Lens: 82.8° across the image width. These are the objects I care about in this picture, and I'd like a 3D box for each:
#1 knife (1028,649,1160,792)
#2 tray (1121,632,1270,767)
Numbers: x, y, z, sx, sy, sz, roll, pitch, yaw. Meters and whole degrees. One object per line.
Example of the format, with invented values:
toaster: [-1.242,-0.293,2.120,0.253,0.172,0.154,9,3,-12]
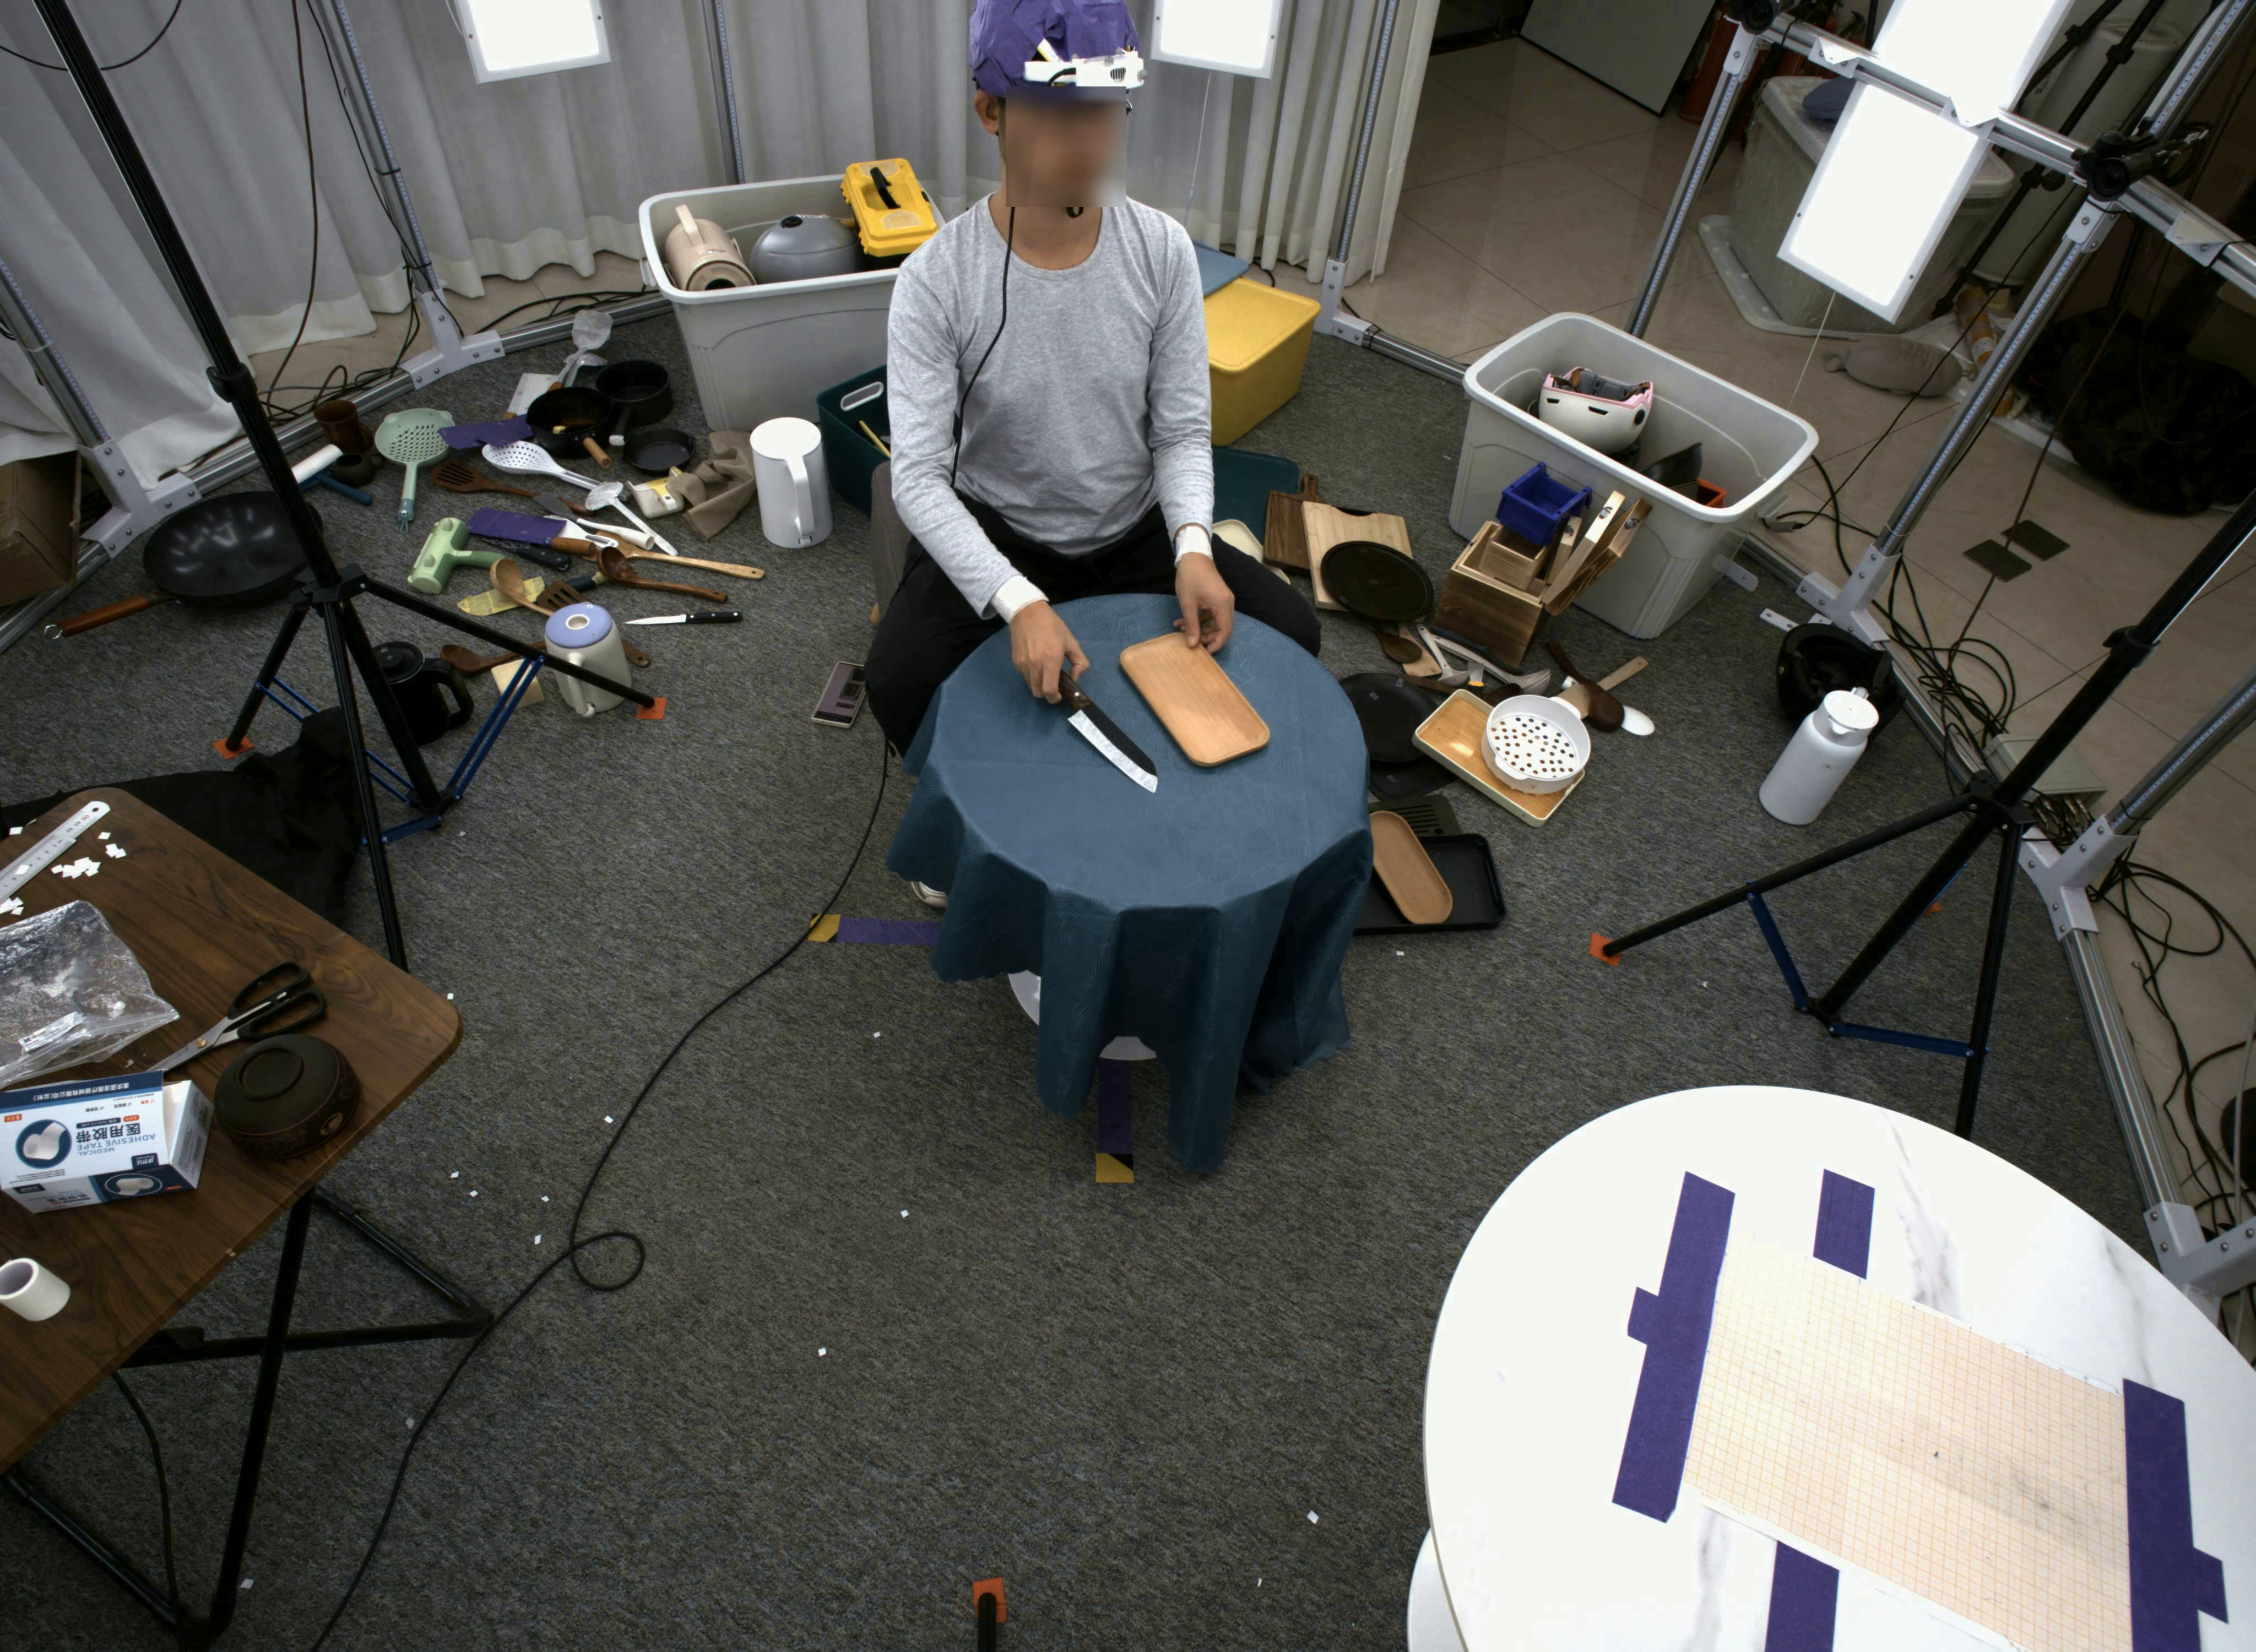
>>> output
knife: [-0.048,-0.147,1.769,0.050,0.019,0.294,-34,65,-16]
tray: [0.093,-0.183,1.822,0.131,0.022,0.256,-17,52,-20]
